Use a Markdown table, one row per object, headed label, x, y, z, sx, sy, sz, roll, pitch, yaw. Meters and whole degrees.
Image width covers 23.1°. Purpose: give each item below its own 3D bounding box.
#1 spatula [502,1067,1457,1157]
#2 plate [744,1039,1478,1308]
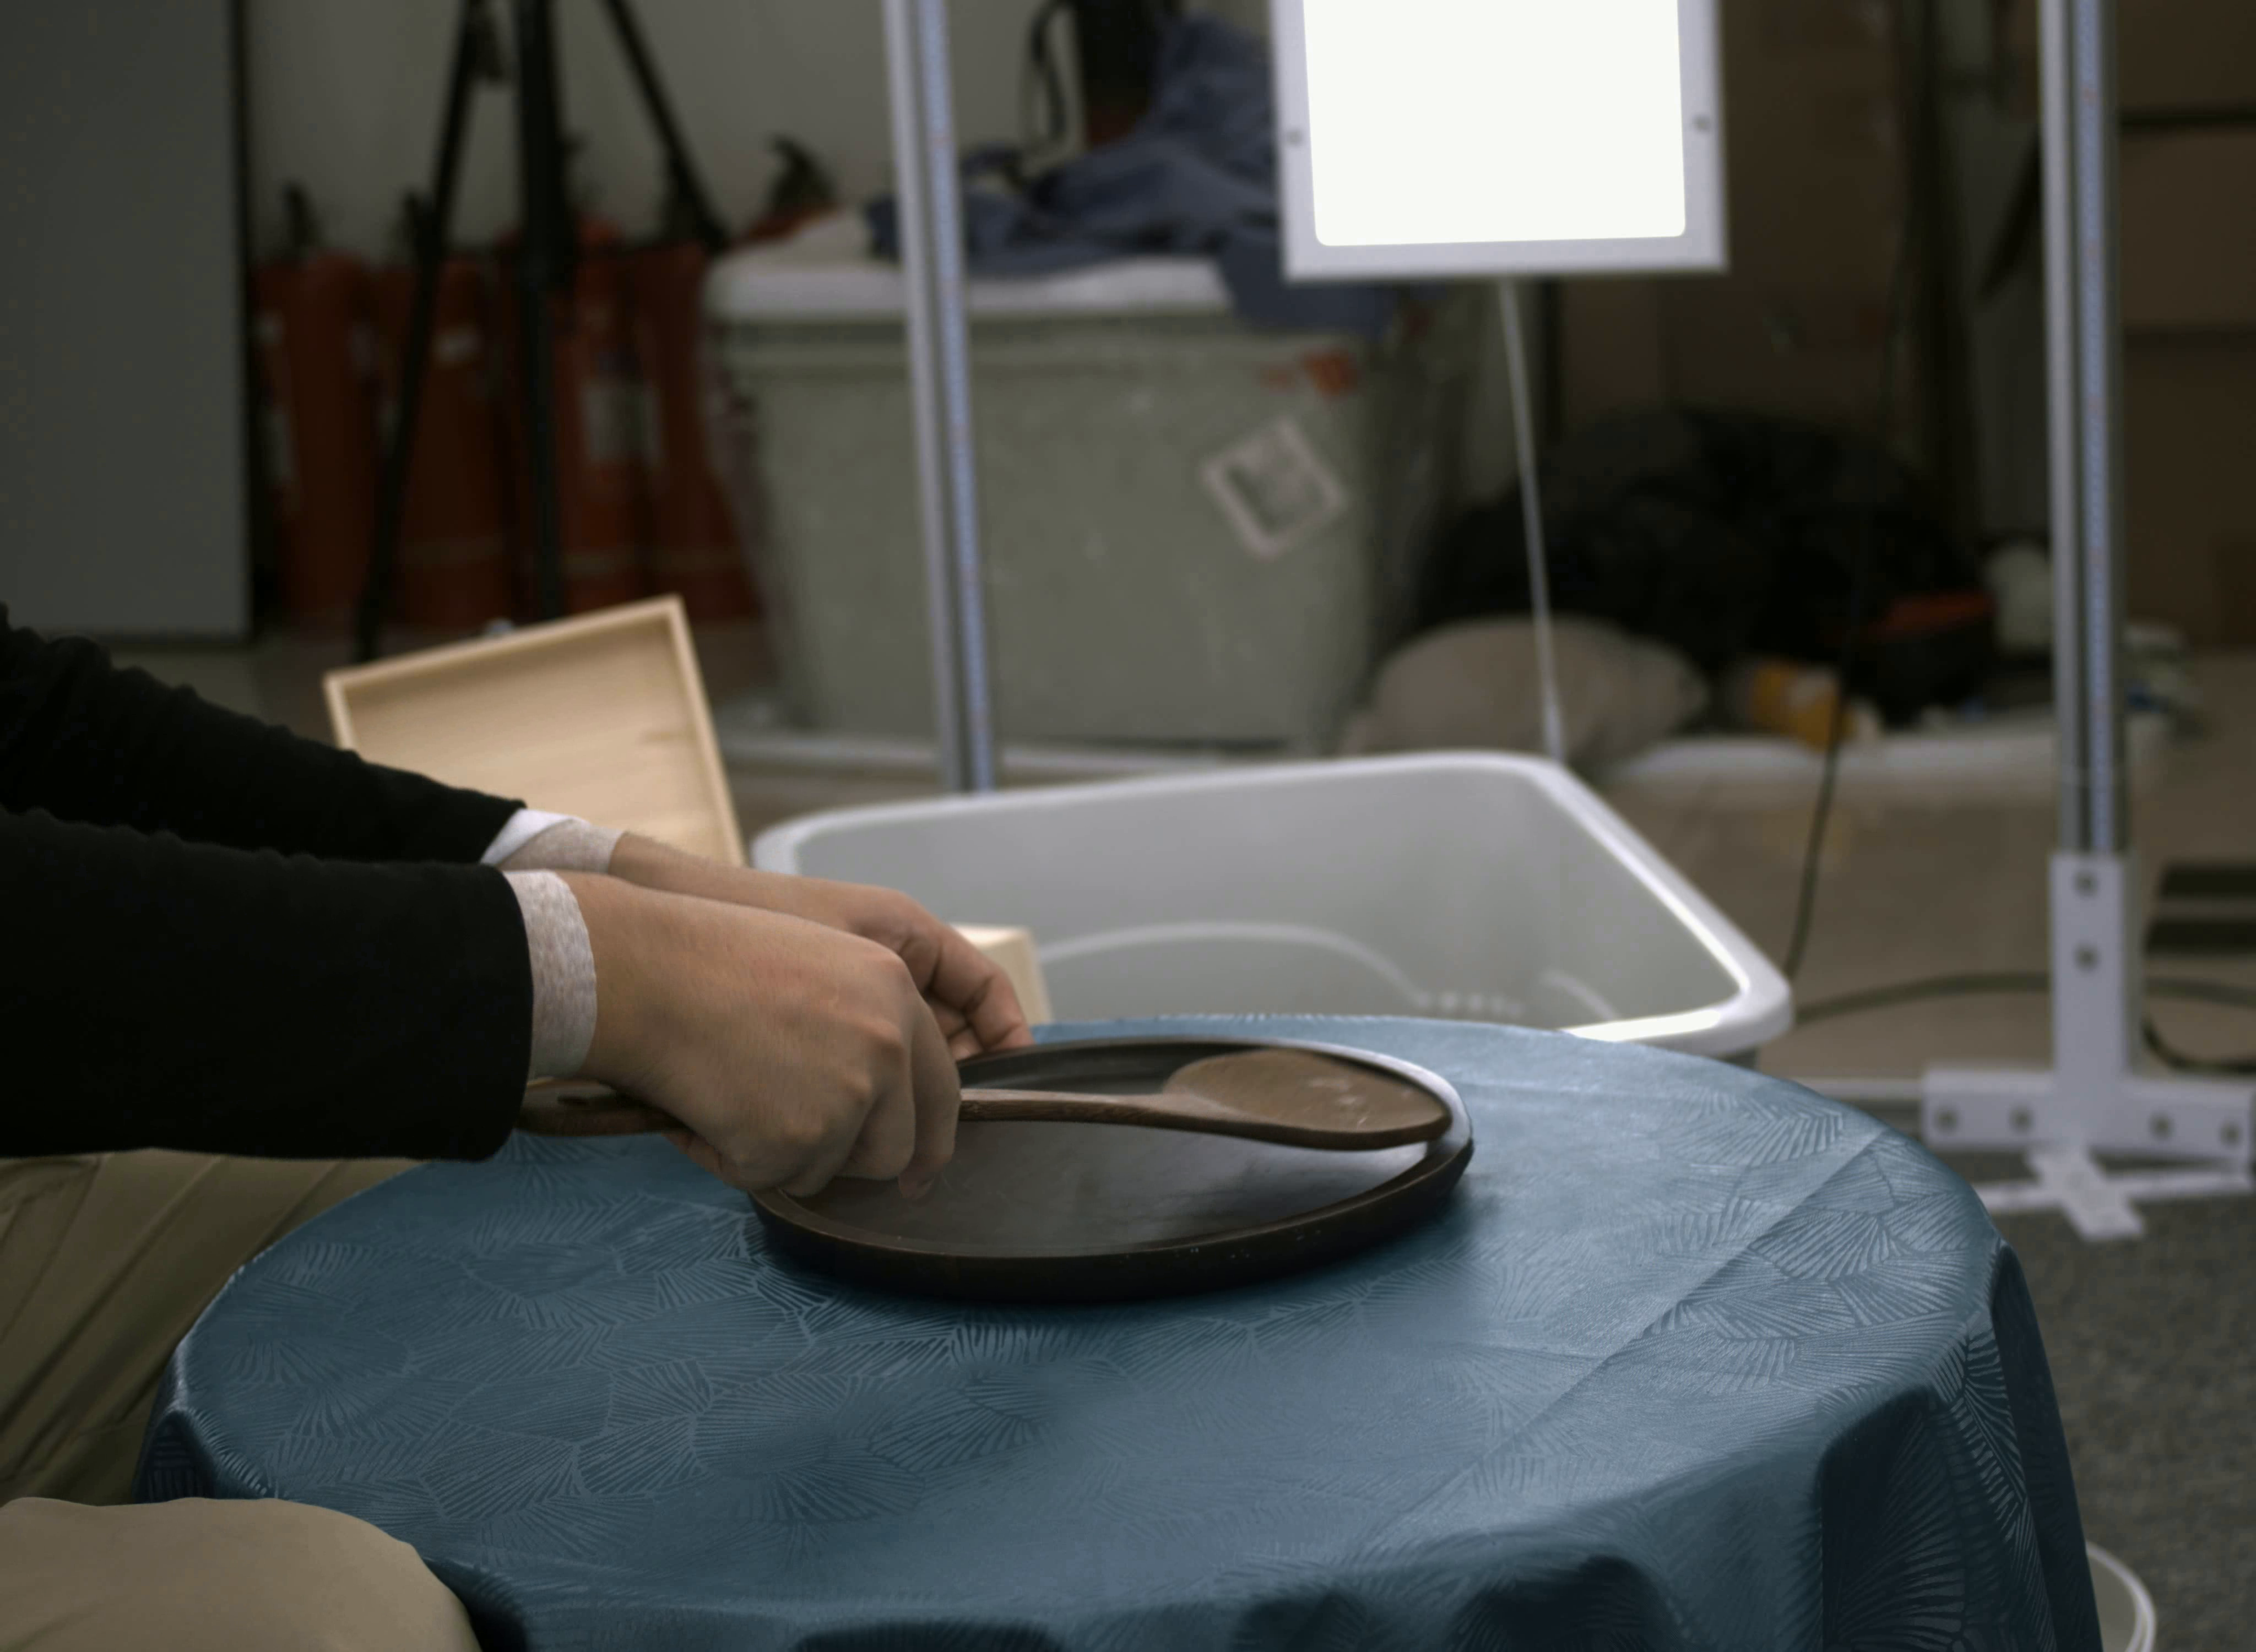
| label | x | y | z | sx | sy | sz | roll | pitch | yaw |
| --- | --- | --- | --- | --- | --- | --- | --- | --- | --- |
| spatula | -0.046 | 0.090 | 1.764 | 0.376 | 0.016 | 0.098 | 4 | 9 | -43 |
| plate | -0.005 | 0.116 | 1.891 | 0.254 | 0.029 | 0.254 | -5 | 15 | 0 |
